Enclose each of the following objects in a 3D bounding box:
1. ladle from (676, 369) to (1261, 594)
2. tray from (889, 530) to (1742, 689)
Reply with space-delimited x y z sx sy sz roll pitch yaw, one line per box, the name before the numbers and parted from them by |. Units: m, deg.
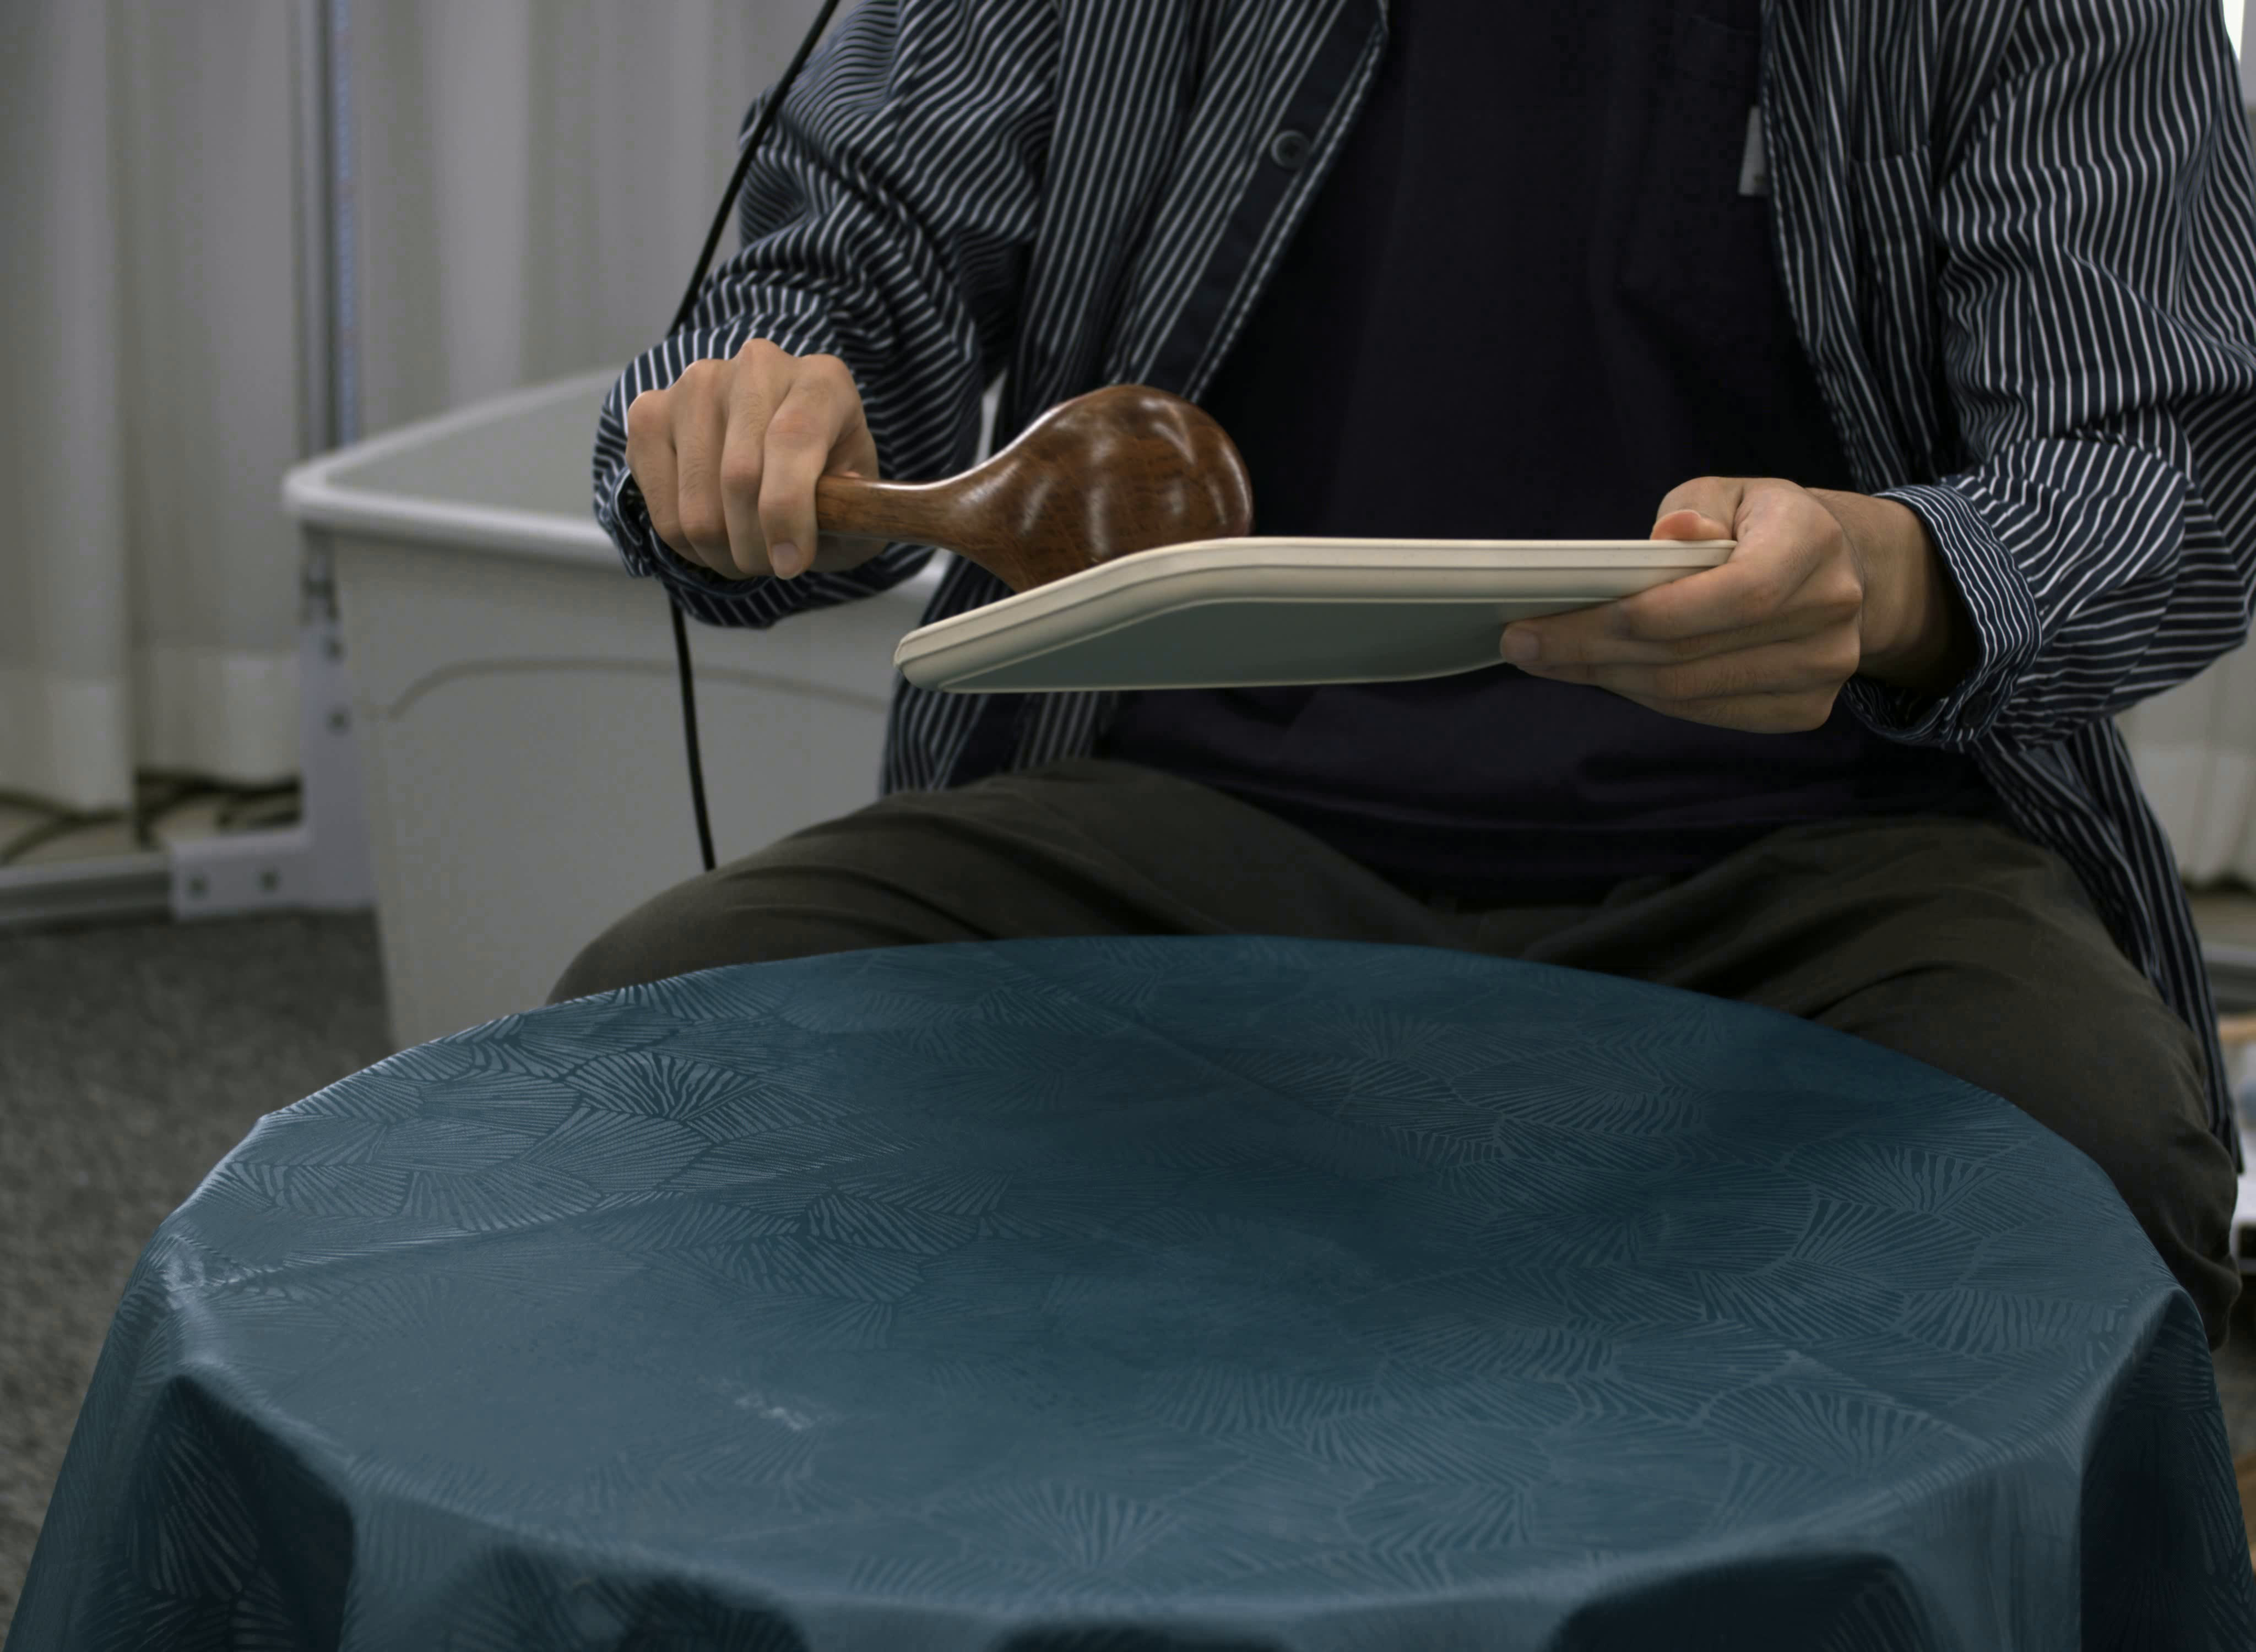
ladle | -0.053 -0.102 1.681 0.077 0.082 0.271 6 -1 -30
tray | 0.060 -0.064 1.618 0.241 0.017 0.170 -2 -9 -38
